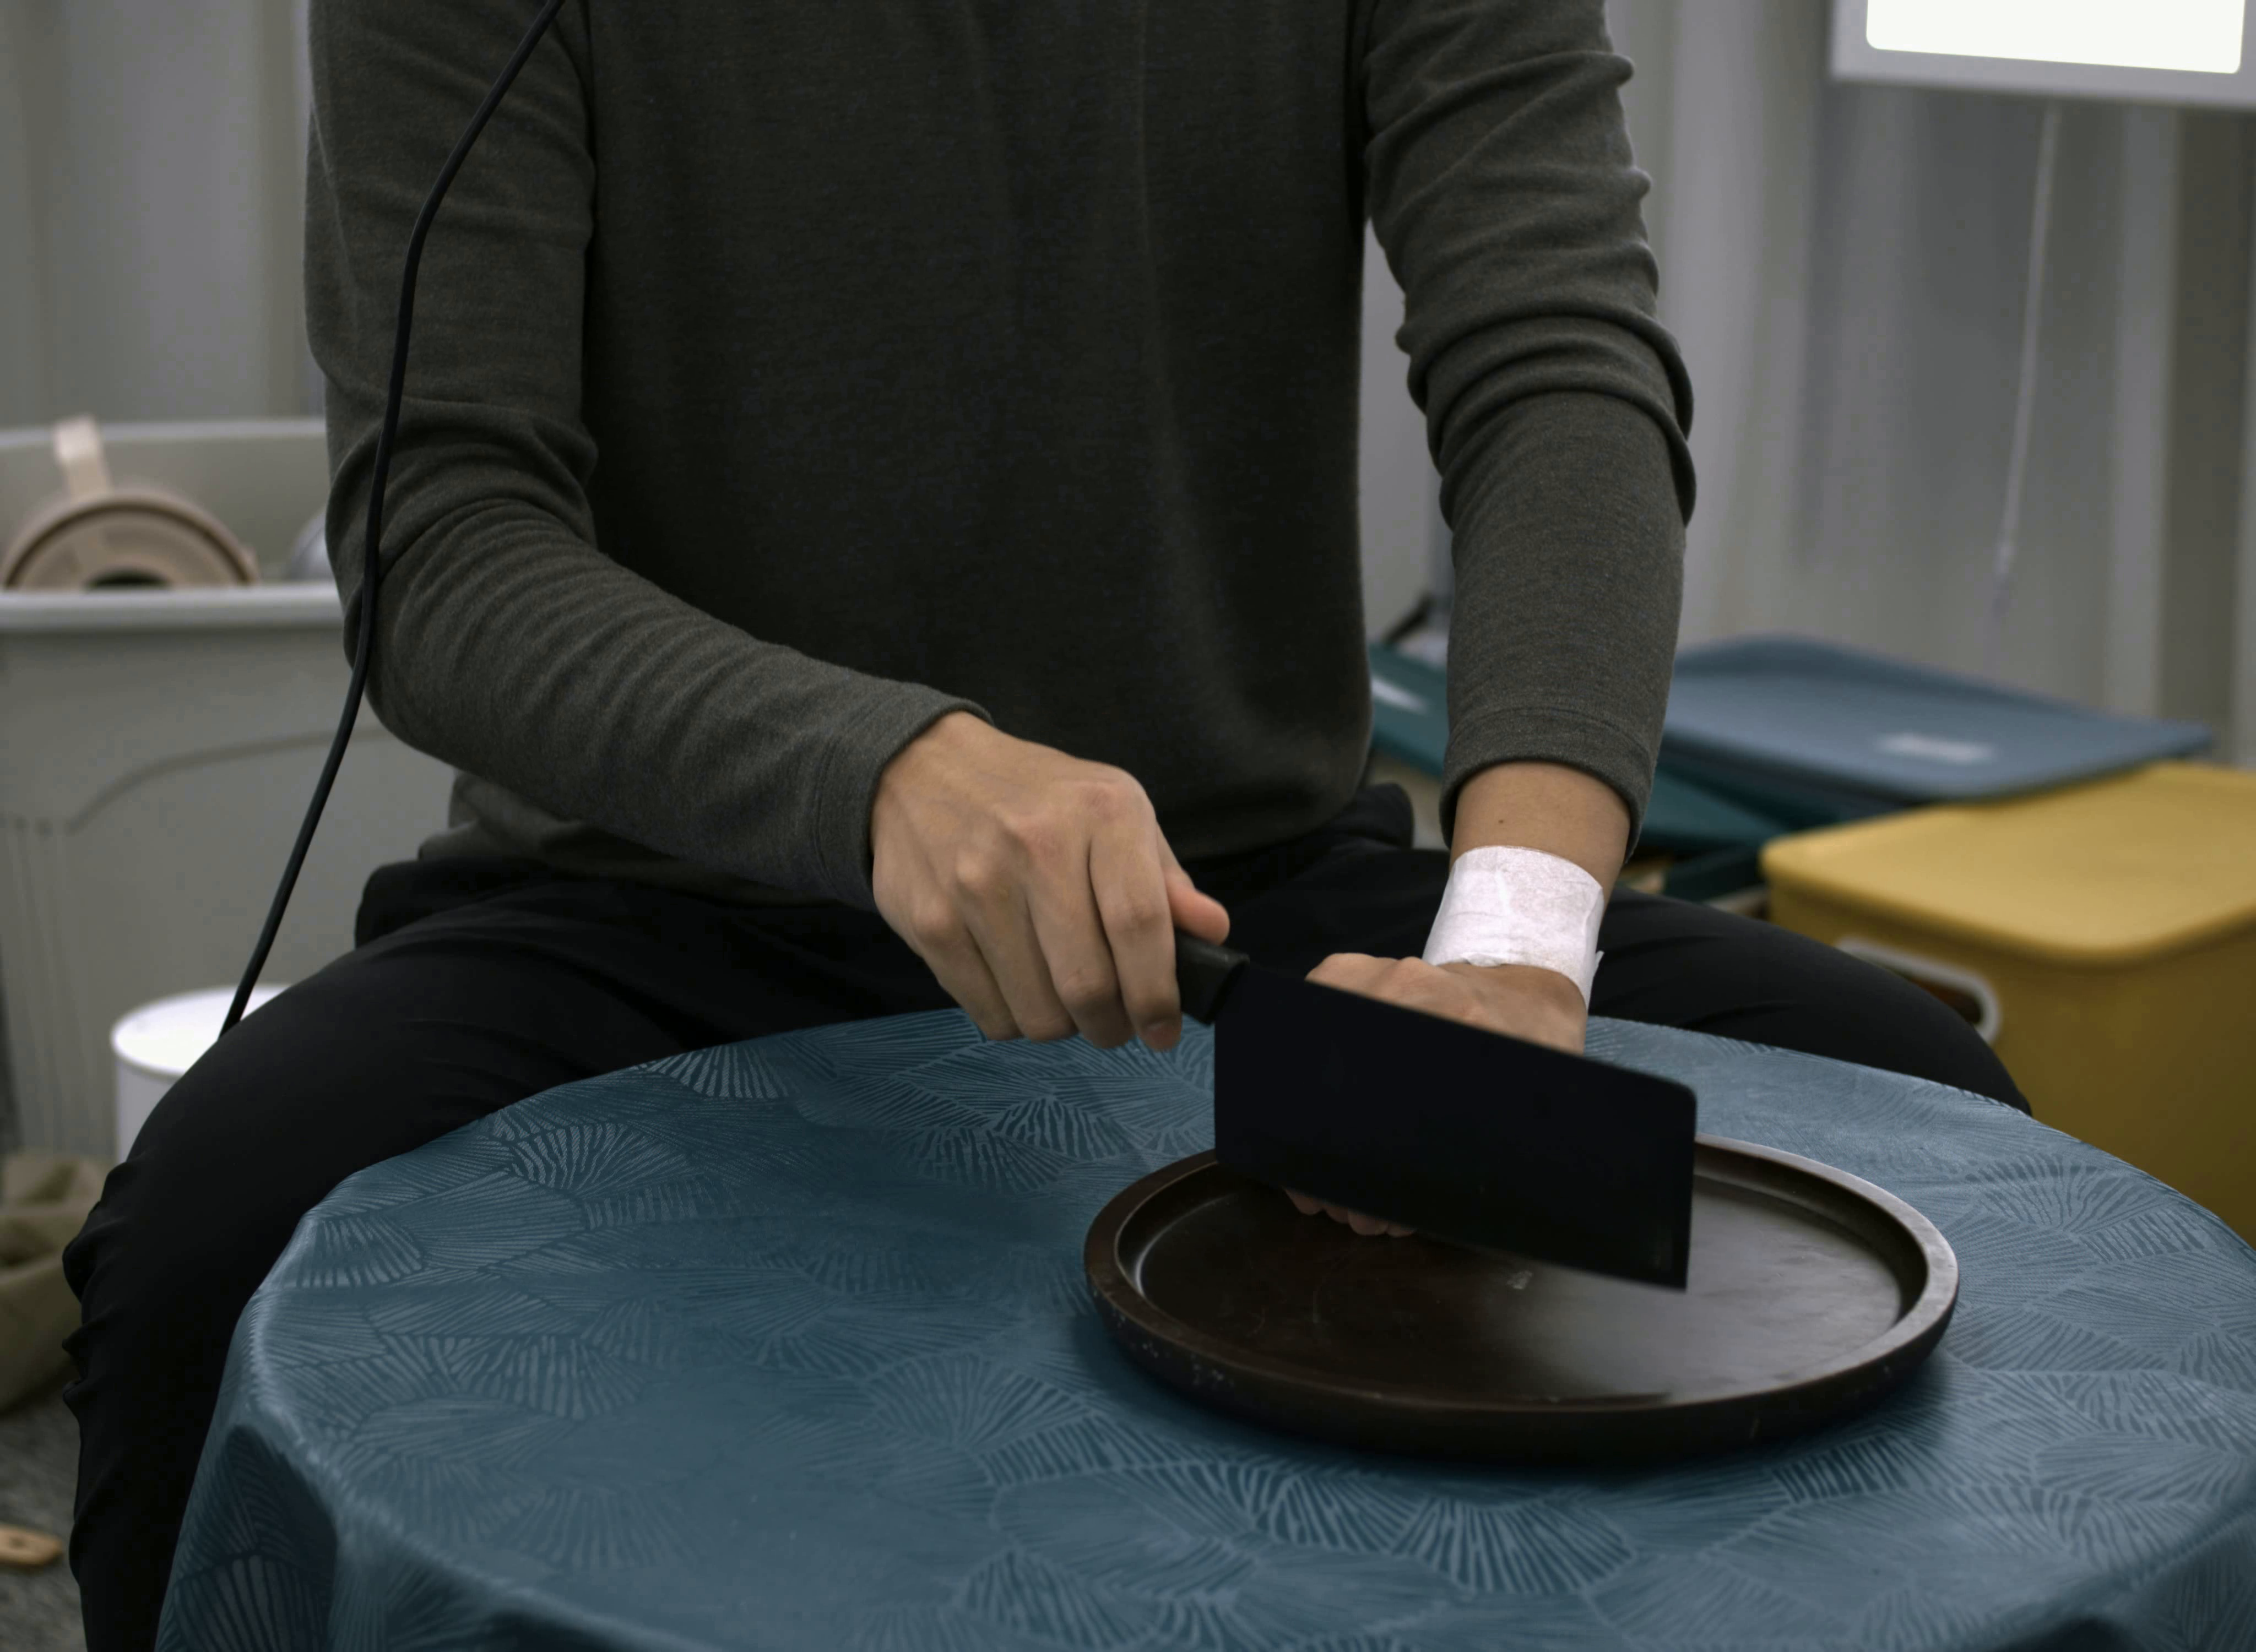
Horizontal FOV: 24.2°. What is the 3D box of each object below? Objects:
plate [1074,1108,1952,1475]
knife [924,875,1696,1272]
[{"bbox_3d":[0.110,0.132,1.517,0.254,0.029,0.253,0,16,1],"label":"plate"},{"bbox_3d":[0.048,0.067,1.539,0.298,0.081,0.021,19,23,40],"label":"knife"}]
